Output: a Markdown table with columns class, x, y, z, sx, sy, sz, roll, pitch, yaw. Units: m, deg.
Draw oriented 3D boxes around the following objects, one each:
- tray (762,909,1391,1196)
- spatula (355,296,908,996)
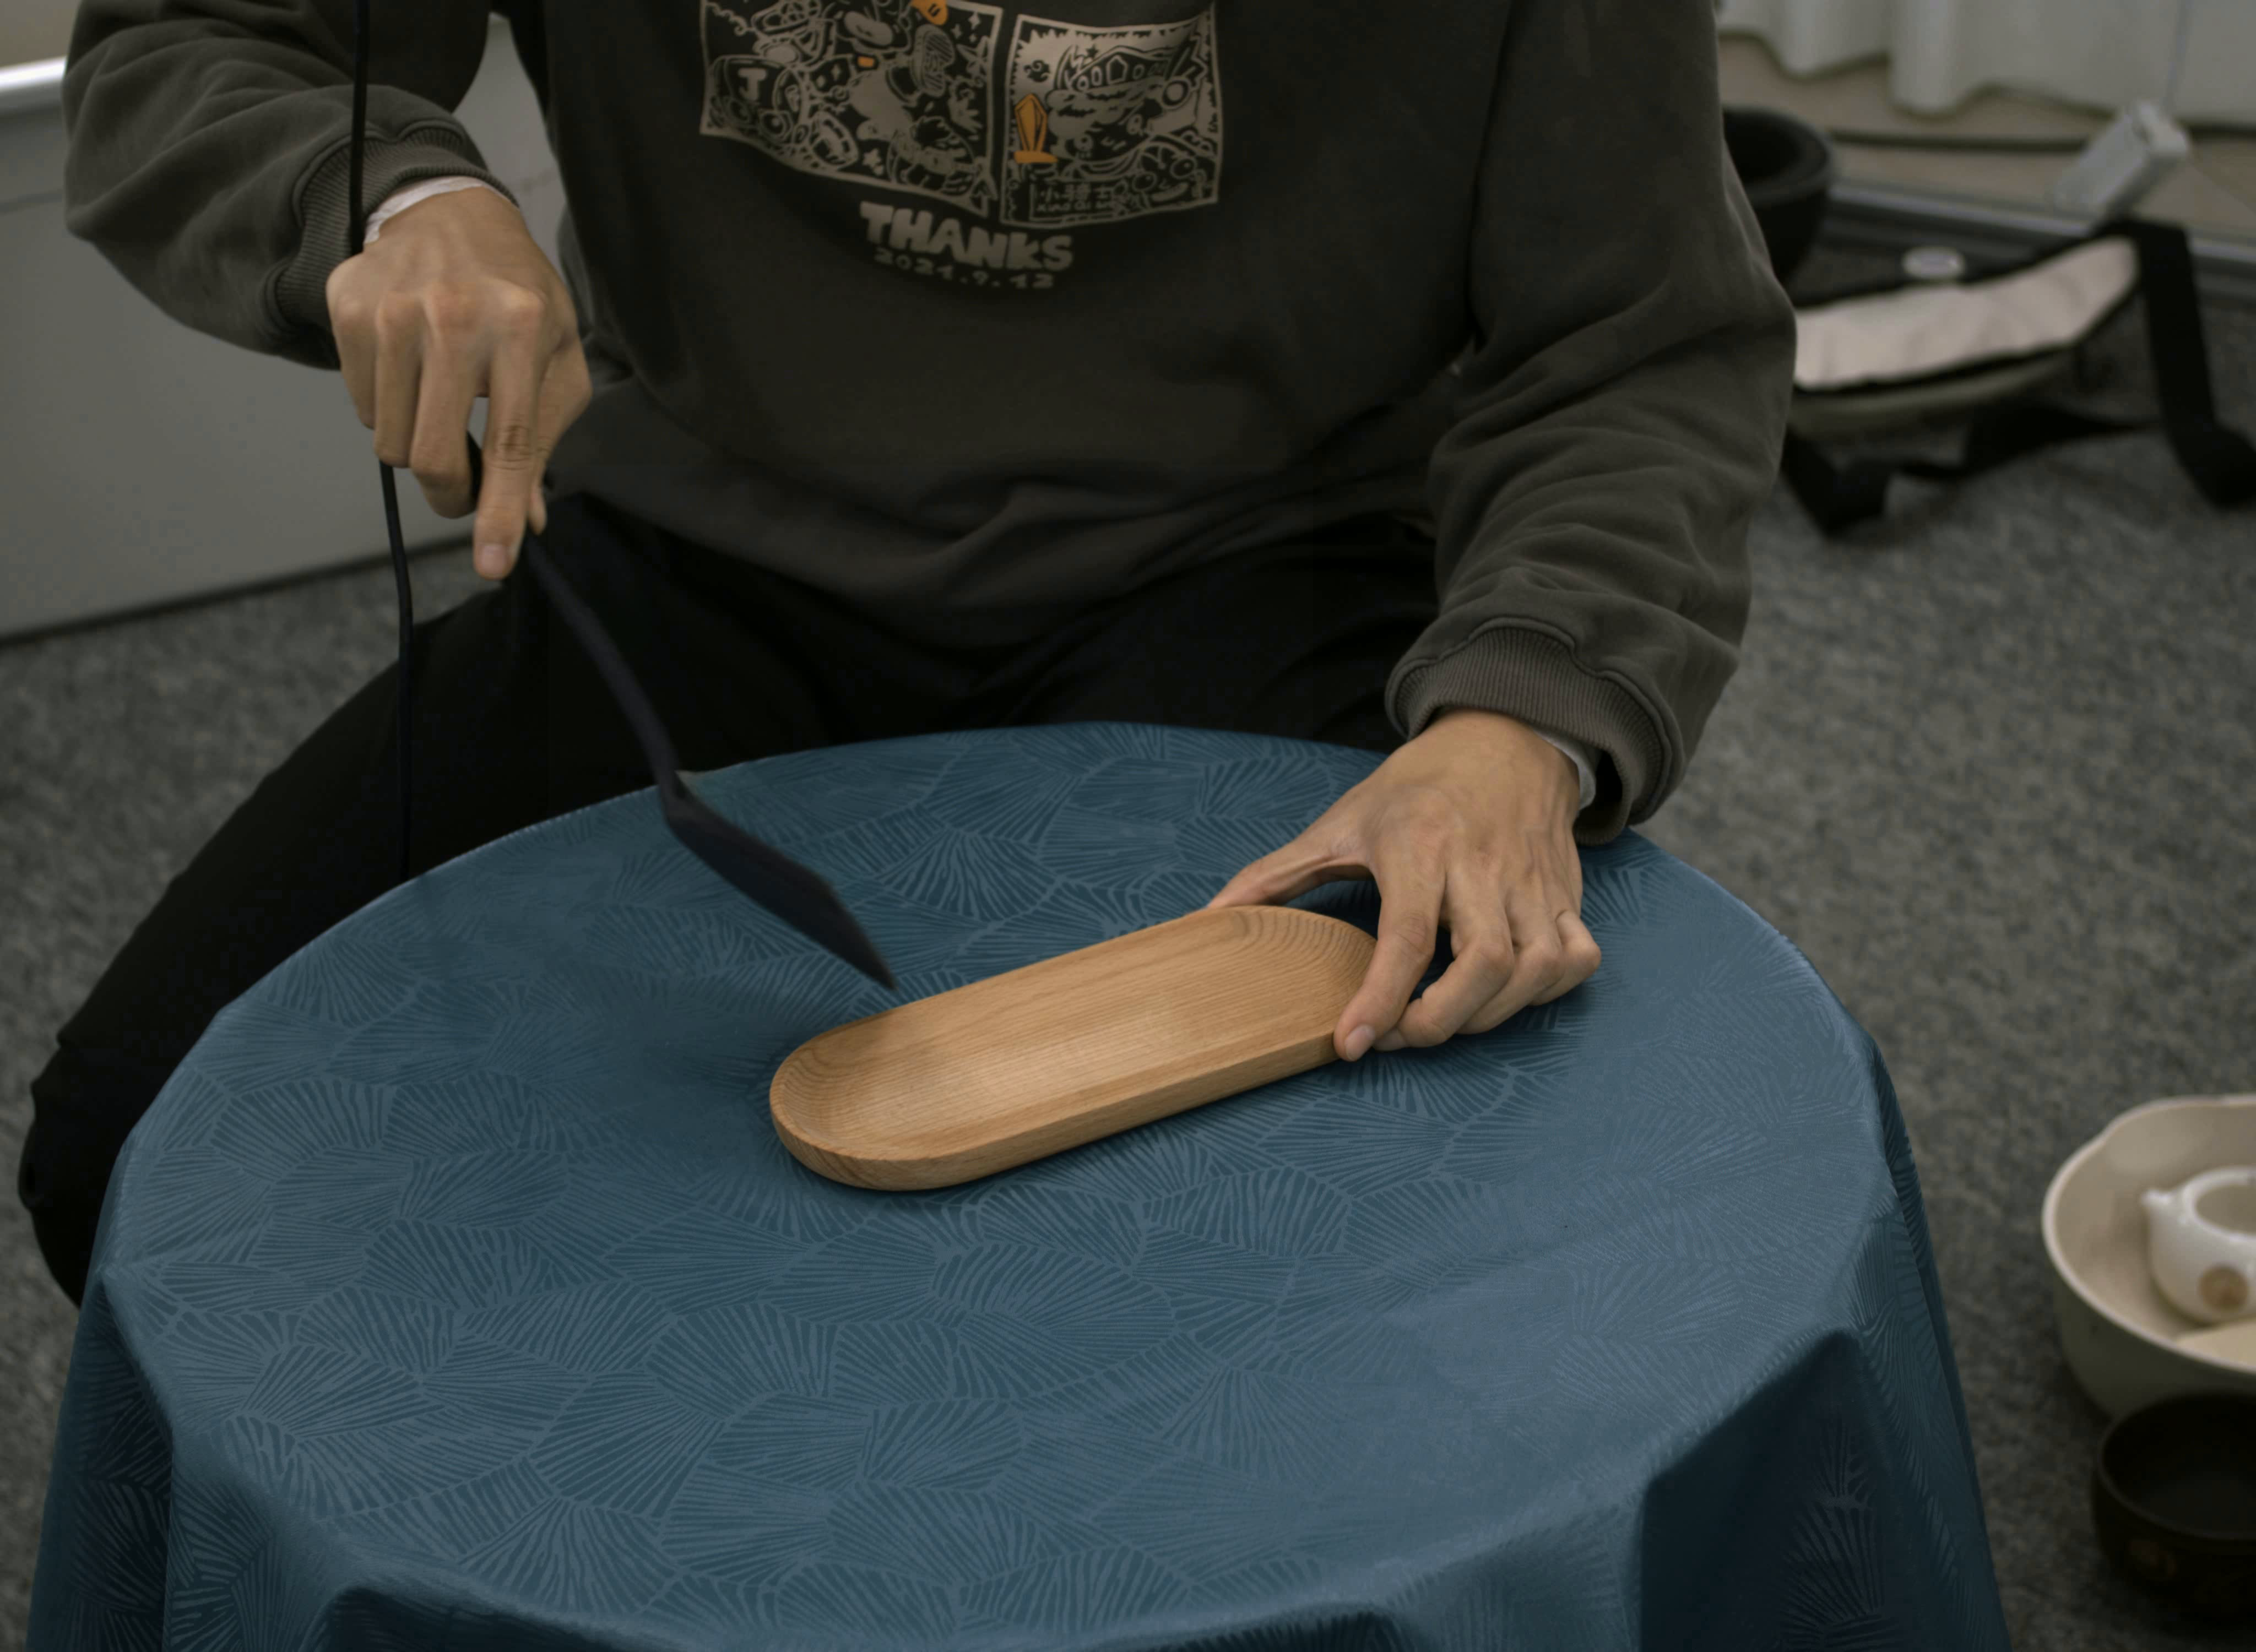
| class | x | y | z | sx | sy | sz | roll | pitch | yaw |
| --- | --- | --- | --- | --- | --- | --- | --- | --- | --- |
| tray | -0.016 | 0.077 | 1.930 | 0.232 | 0.020 | 0.102 | -18 | 30 | -24 |
| spatula | -0.179 | -0.069 | 1.963 | 0.040 | 0.099 | 0.329 | -32 | 68 | -5 |
